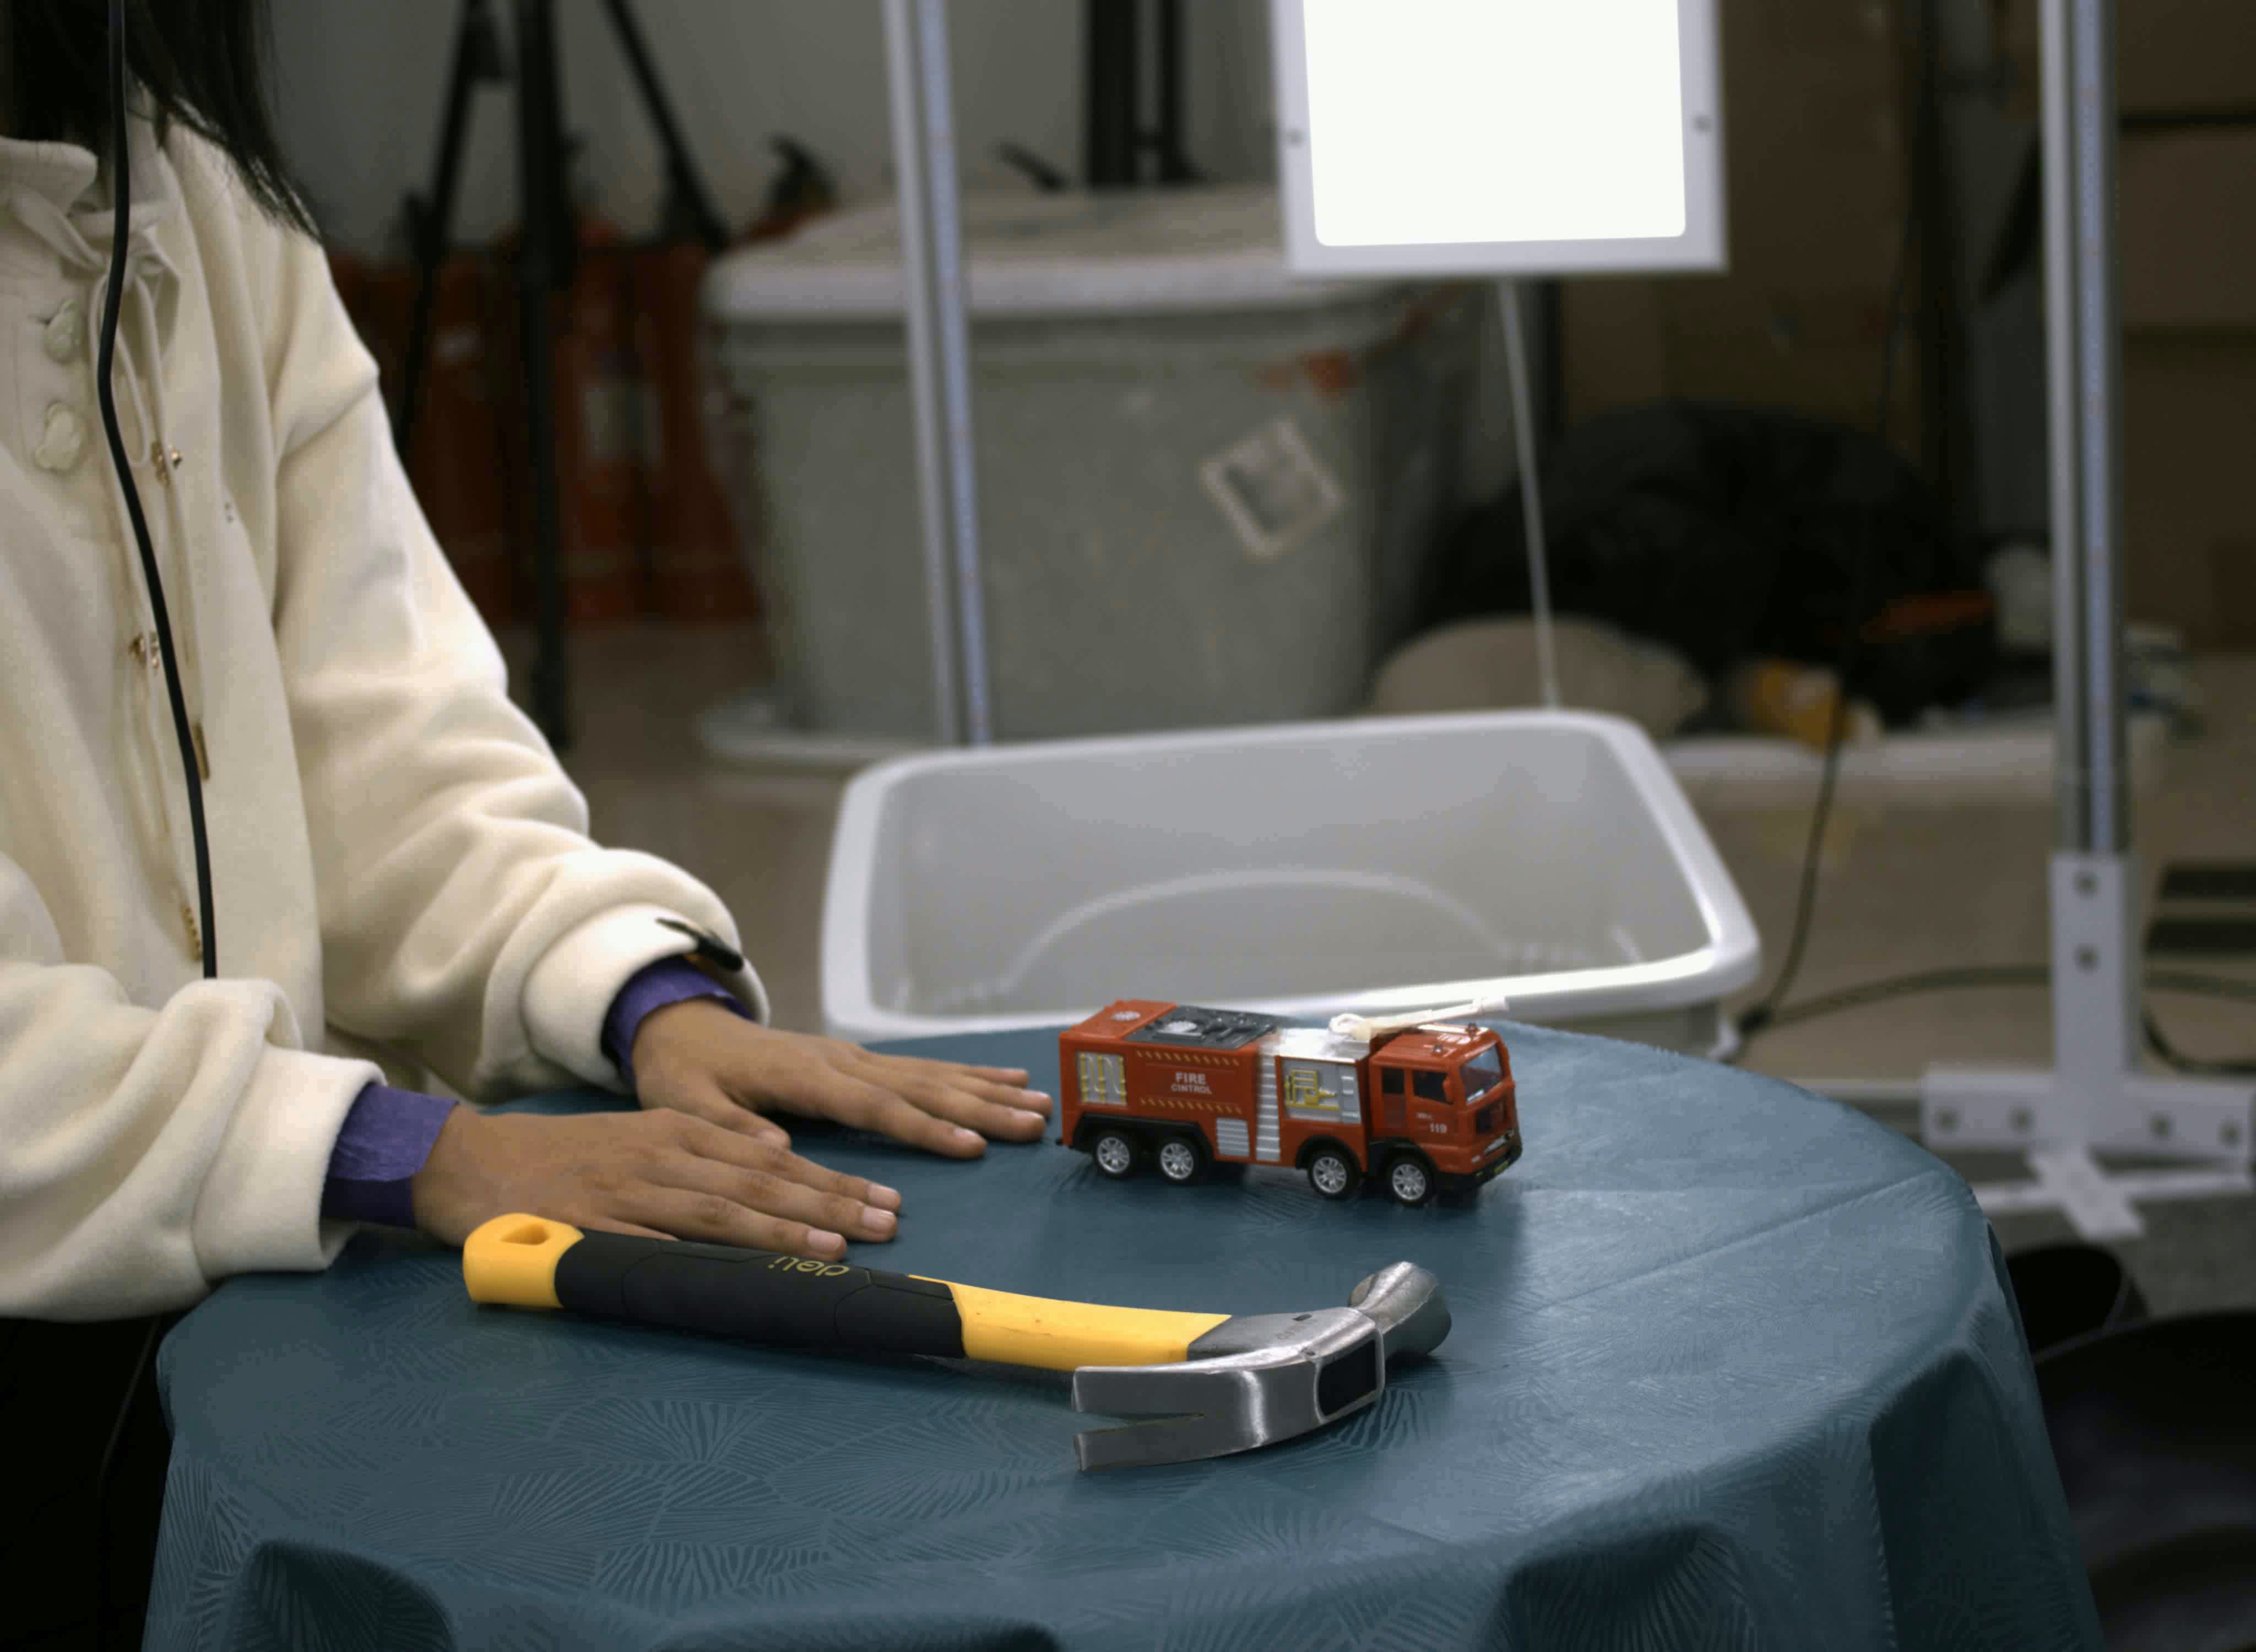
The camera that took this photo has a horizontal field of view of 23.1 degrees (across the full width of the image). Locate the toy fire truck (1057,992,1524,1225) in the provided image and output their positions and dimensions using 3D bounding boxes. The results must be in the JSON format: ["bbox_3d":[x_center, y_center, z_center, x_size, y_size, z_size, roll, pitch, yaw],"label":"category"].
[{"bbox_3d":[0.056,0.093,1.892,0.171,0.070,0.053,2,15,31],"label":"toy fire truck"}]

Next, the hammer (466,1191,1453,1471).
[{"bbox_3d":[-0.073,0.150,1.749,0.345,0.032,0.128,6,19,35],"label":"hammer"}]
